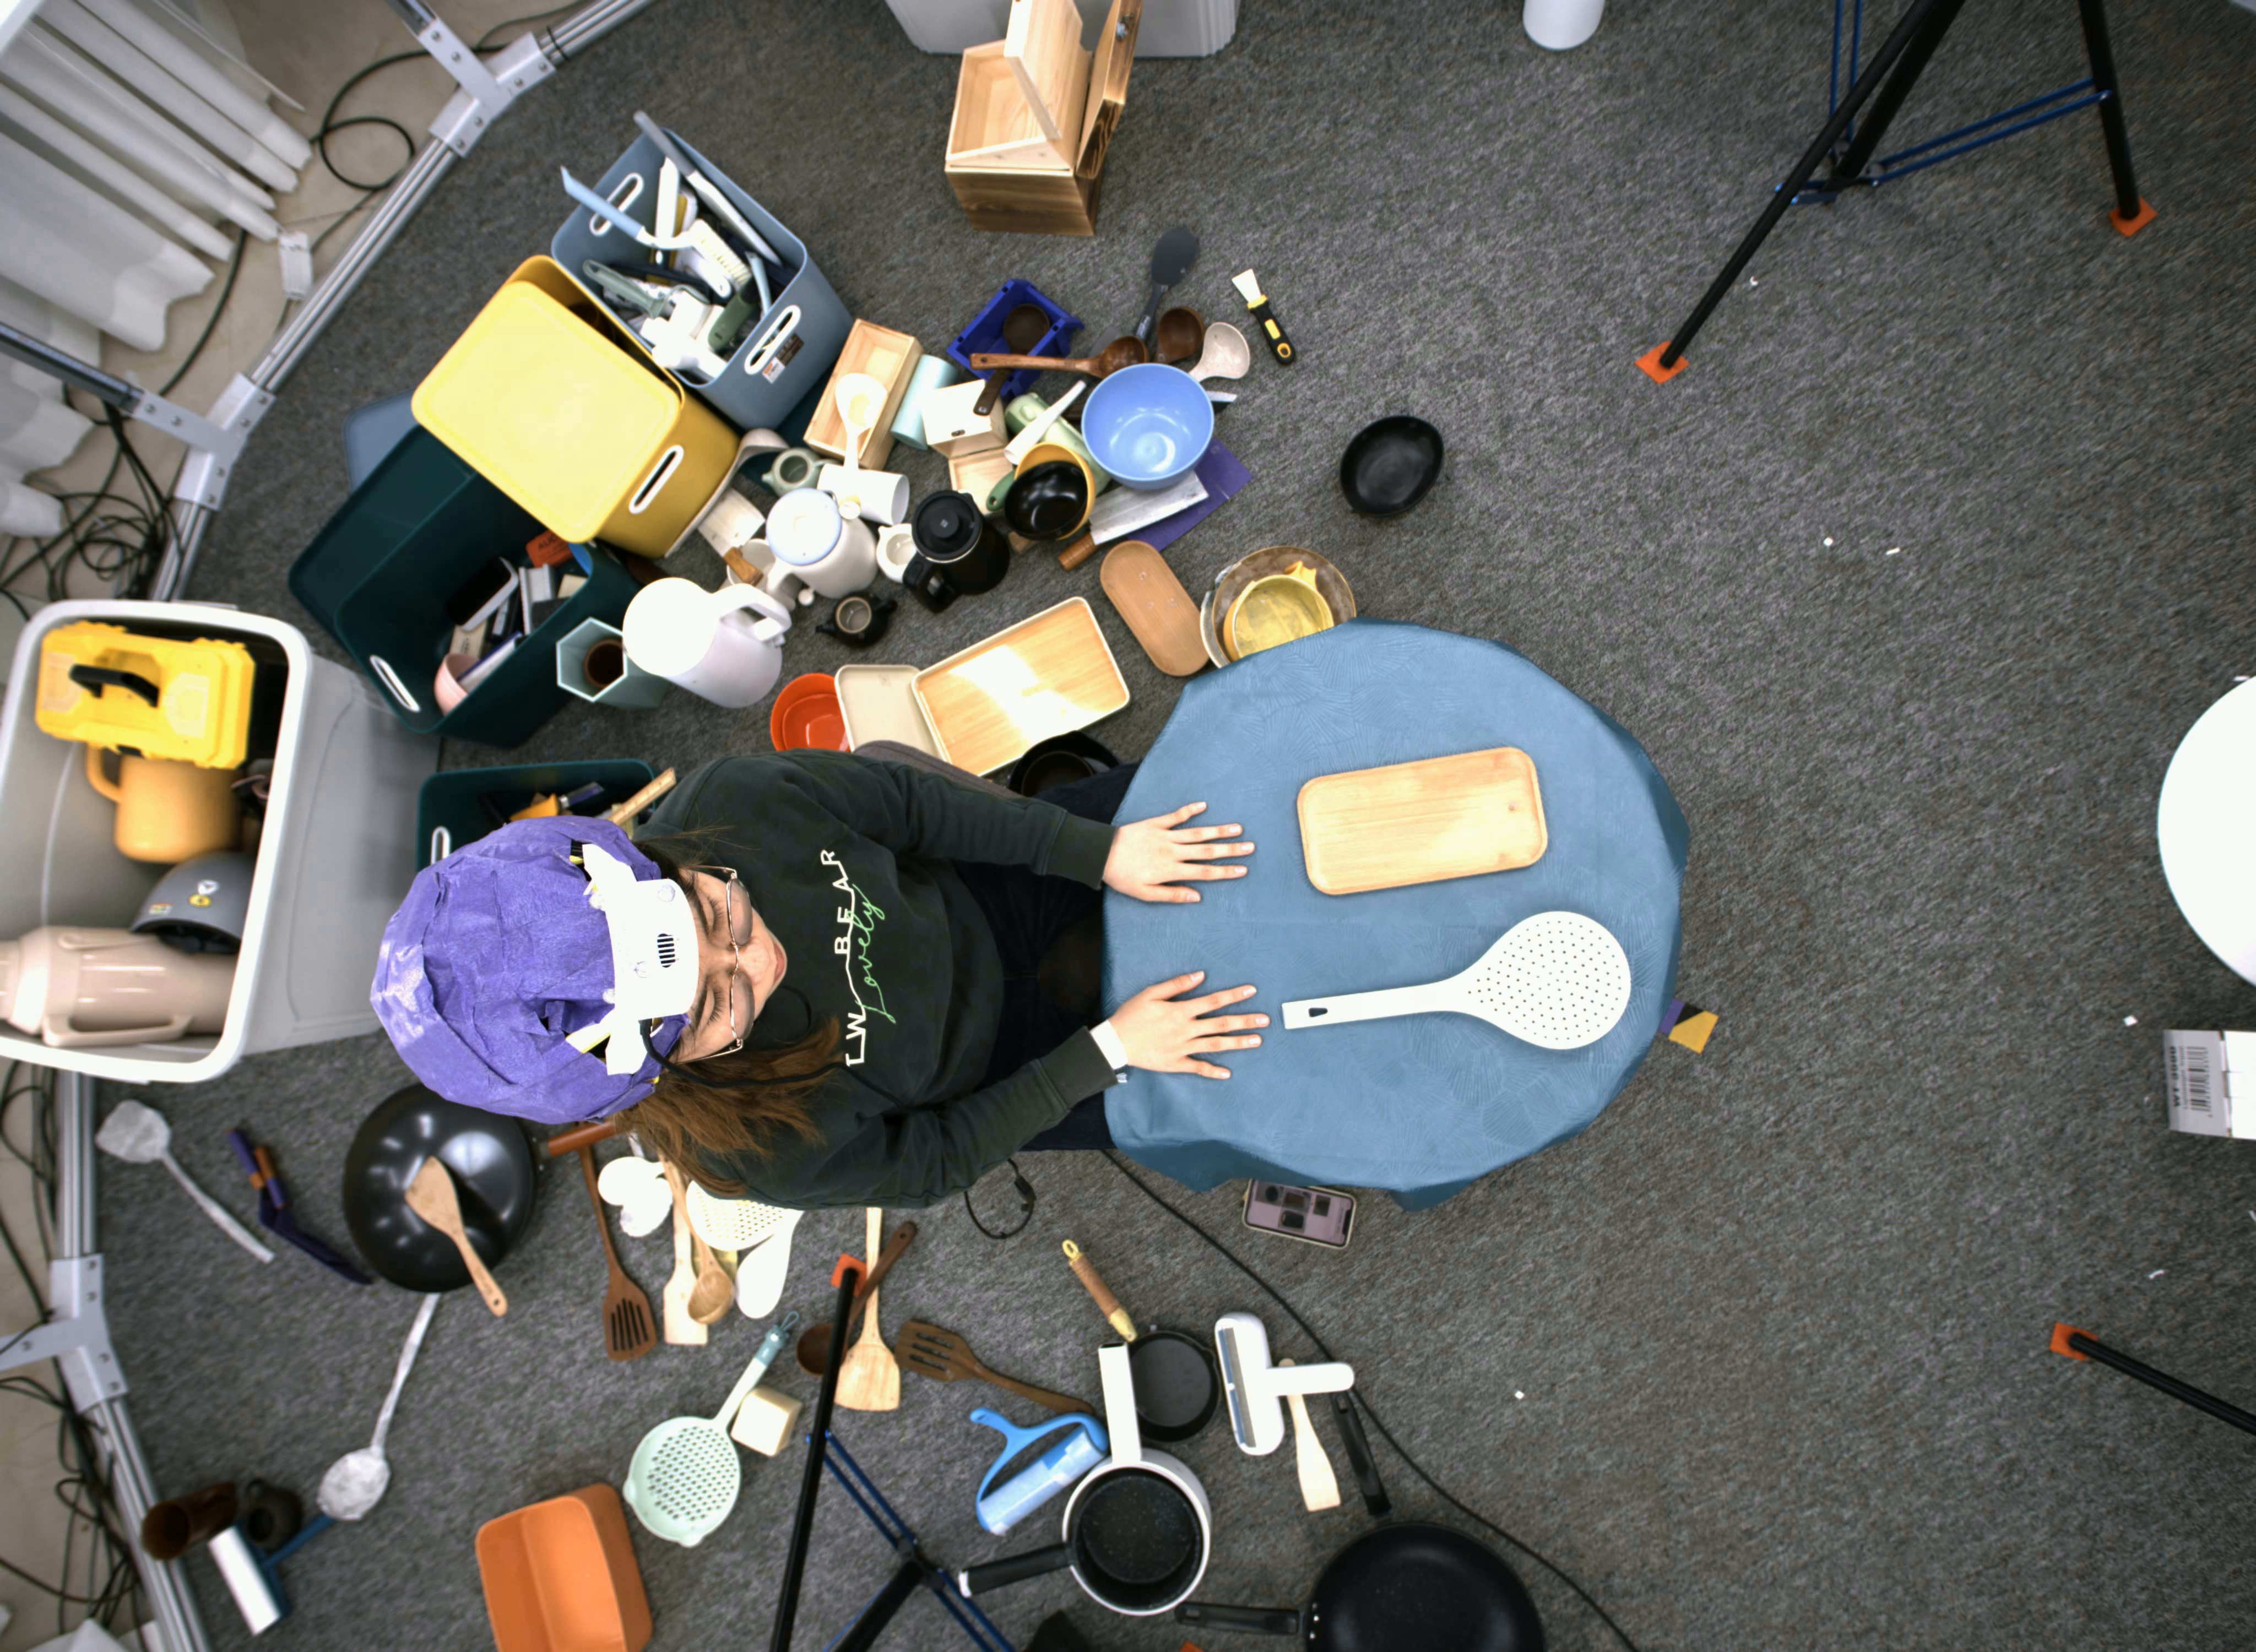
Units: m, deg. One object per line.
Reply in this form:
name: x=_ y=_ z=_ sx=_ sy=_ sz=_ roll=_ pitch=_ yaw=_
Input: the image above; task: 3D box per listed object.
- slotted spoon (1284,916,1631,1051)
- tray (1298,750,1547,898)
slotted spoon: x=0.335 y=0.174 z=1.423 sx=0.351 sy=0.046 sz=0.135 roll=-9 pitch=82 yaw=10
tray: x=0.309 y=-0.003 z=1.454 sx=0.252 sy=0.023 sz=0.129 roll=-9 pitch=83 yaw=10
